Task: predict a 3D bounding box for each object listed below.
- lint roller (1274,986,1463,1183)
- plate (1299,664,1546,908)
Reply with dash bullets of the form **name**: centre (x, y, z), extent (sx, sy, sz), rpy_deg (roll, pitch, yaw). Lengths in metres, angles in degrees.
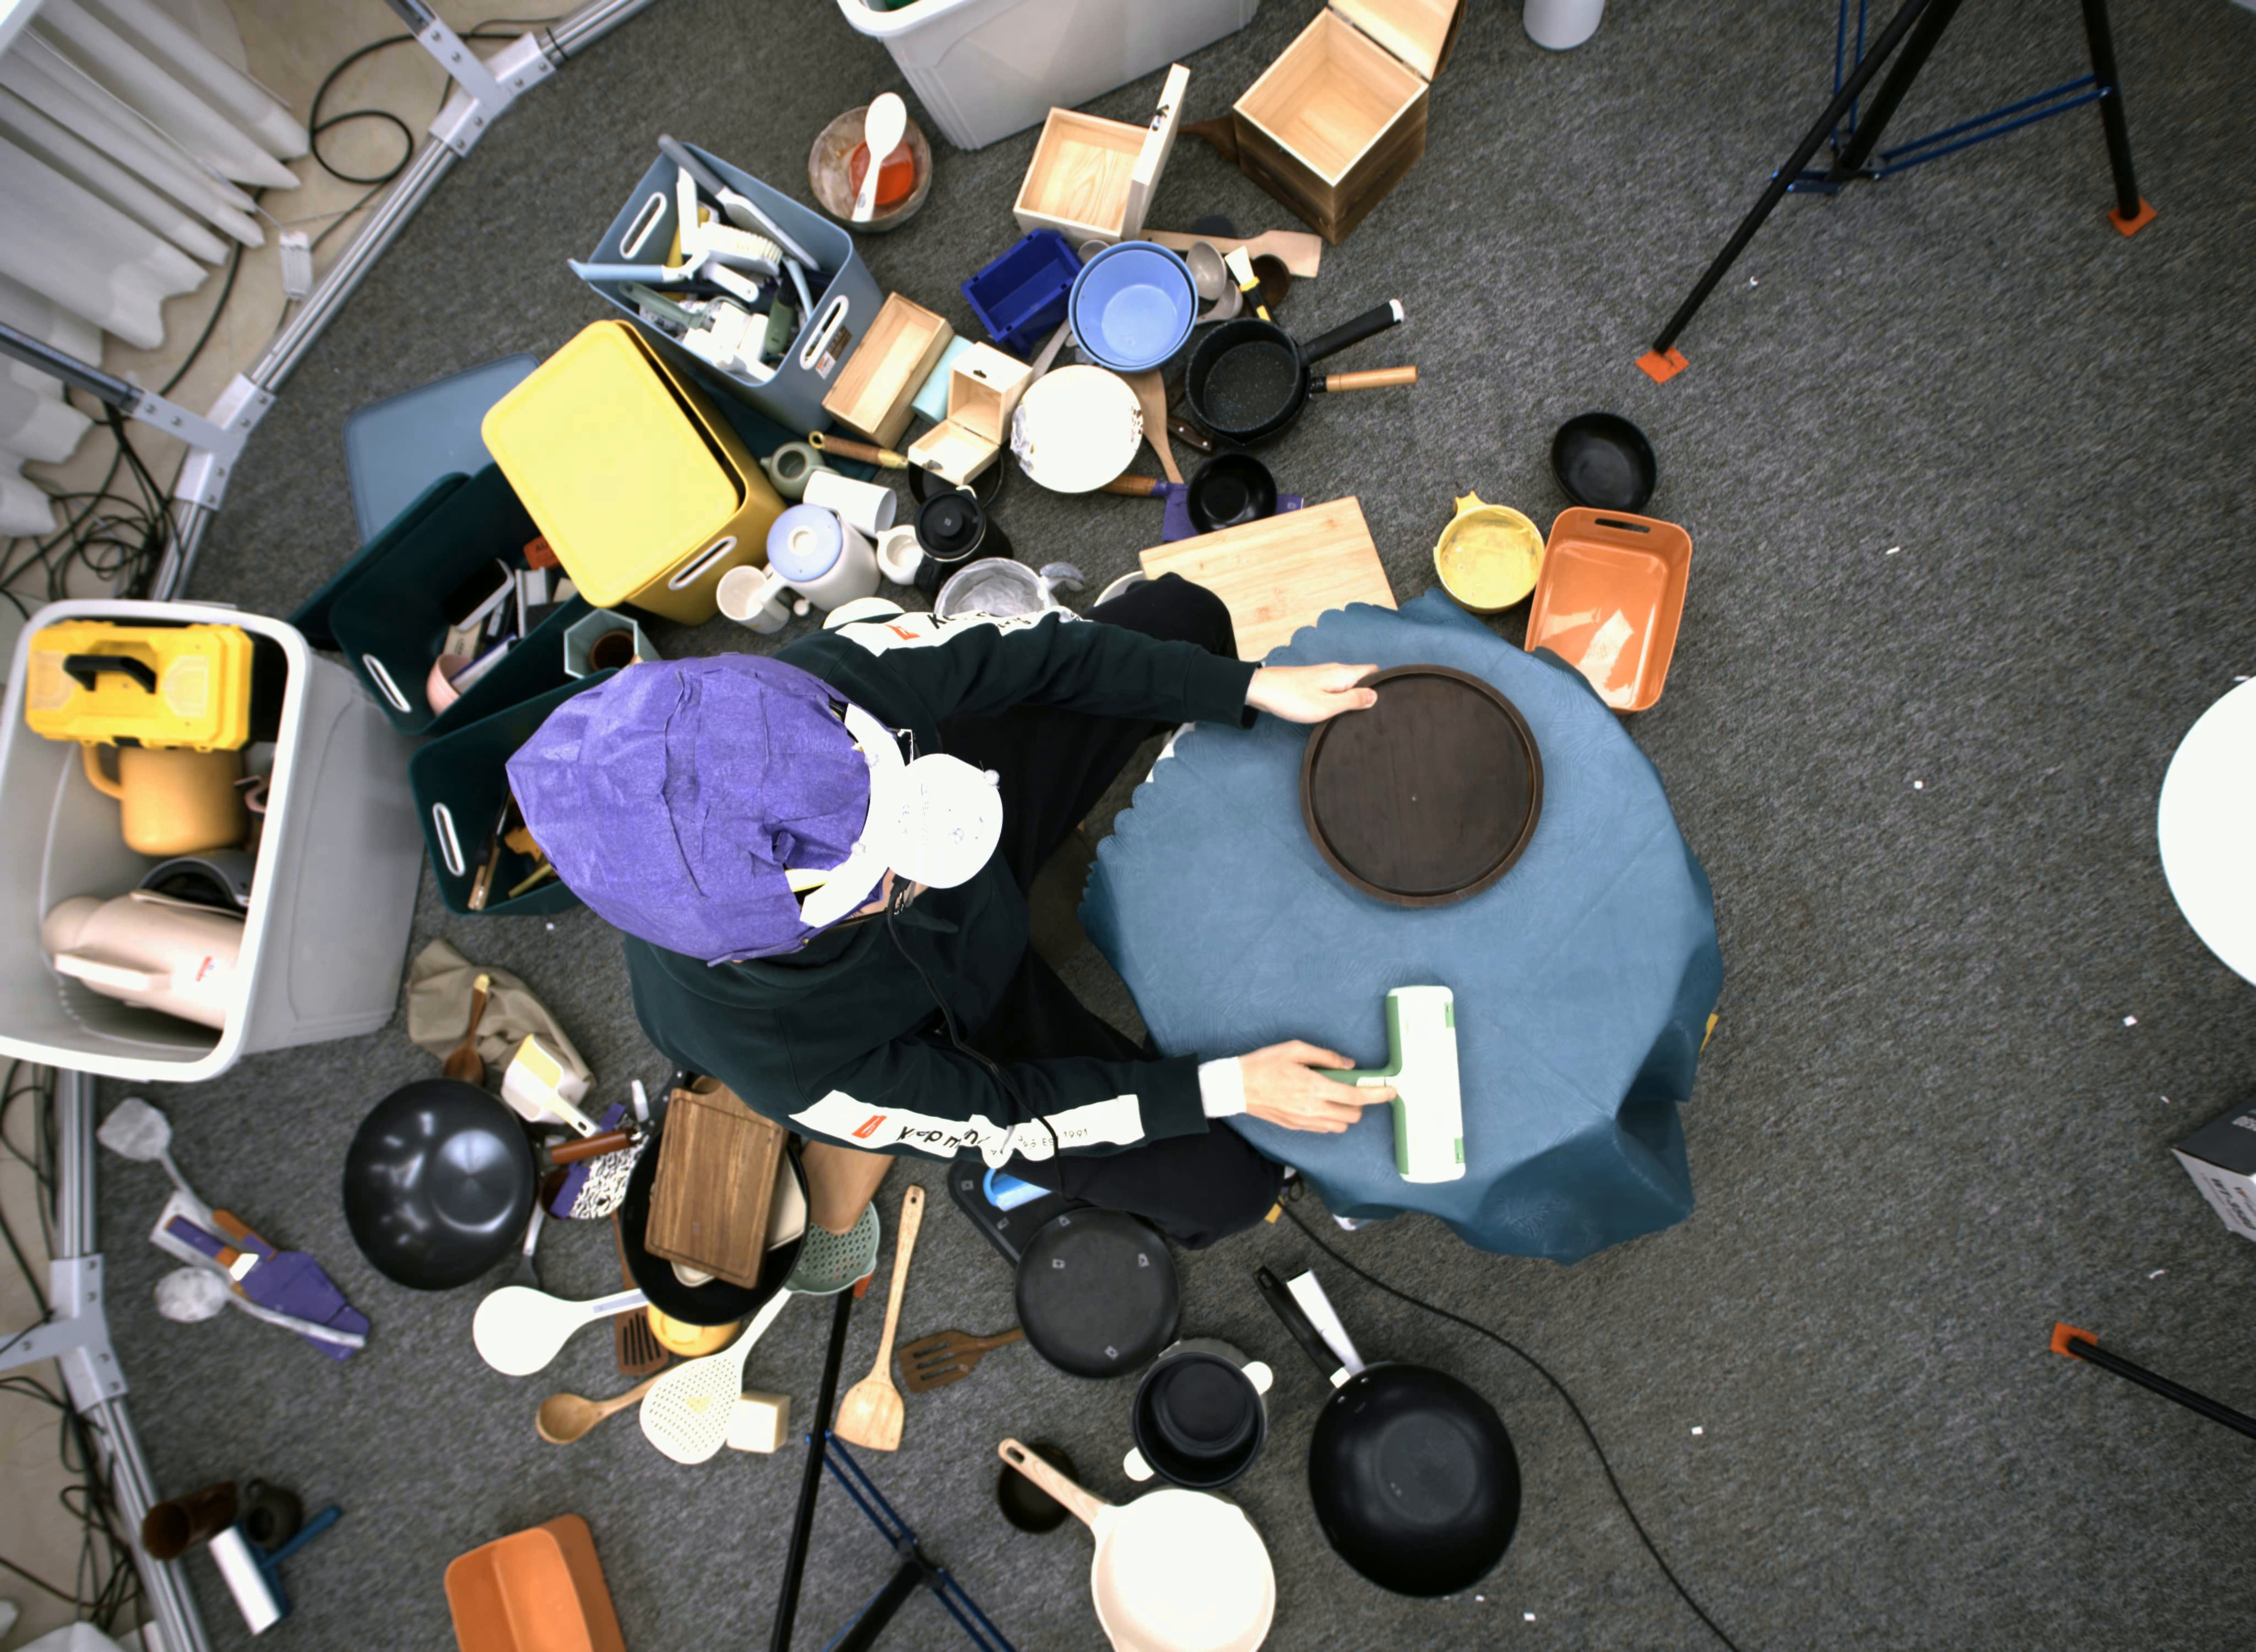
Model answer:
- **lint roller**: centre (0.243, 0.262, 1.403), extent (0.183, 0.082, 0.197), rpy_deg (-3, 85, 1)
- **plate**: centre (0.304, -0.043, 1.425), extent (0.255, 0.029, 0.255), rpy_deg (0, 95, 4)
